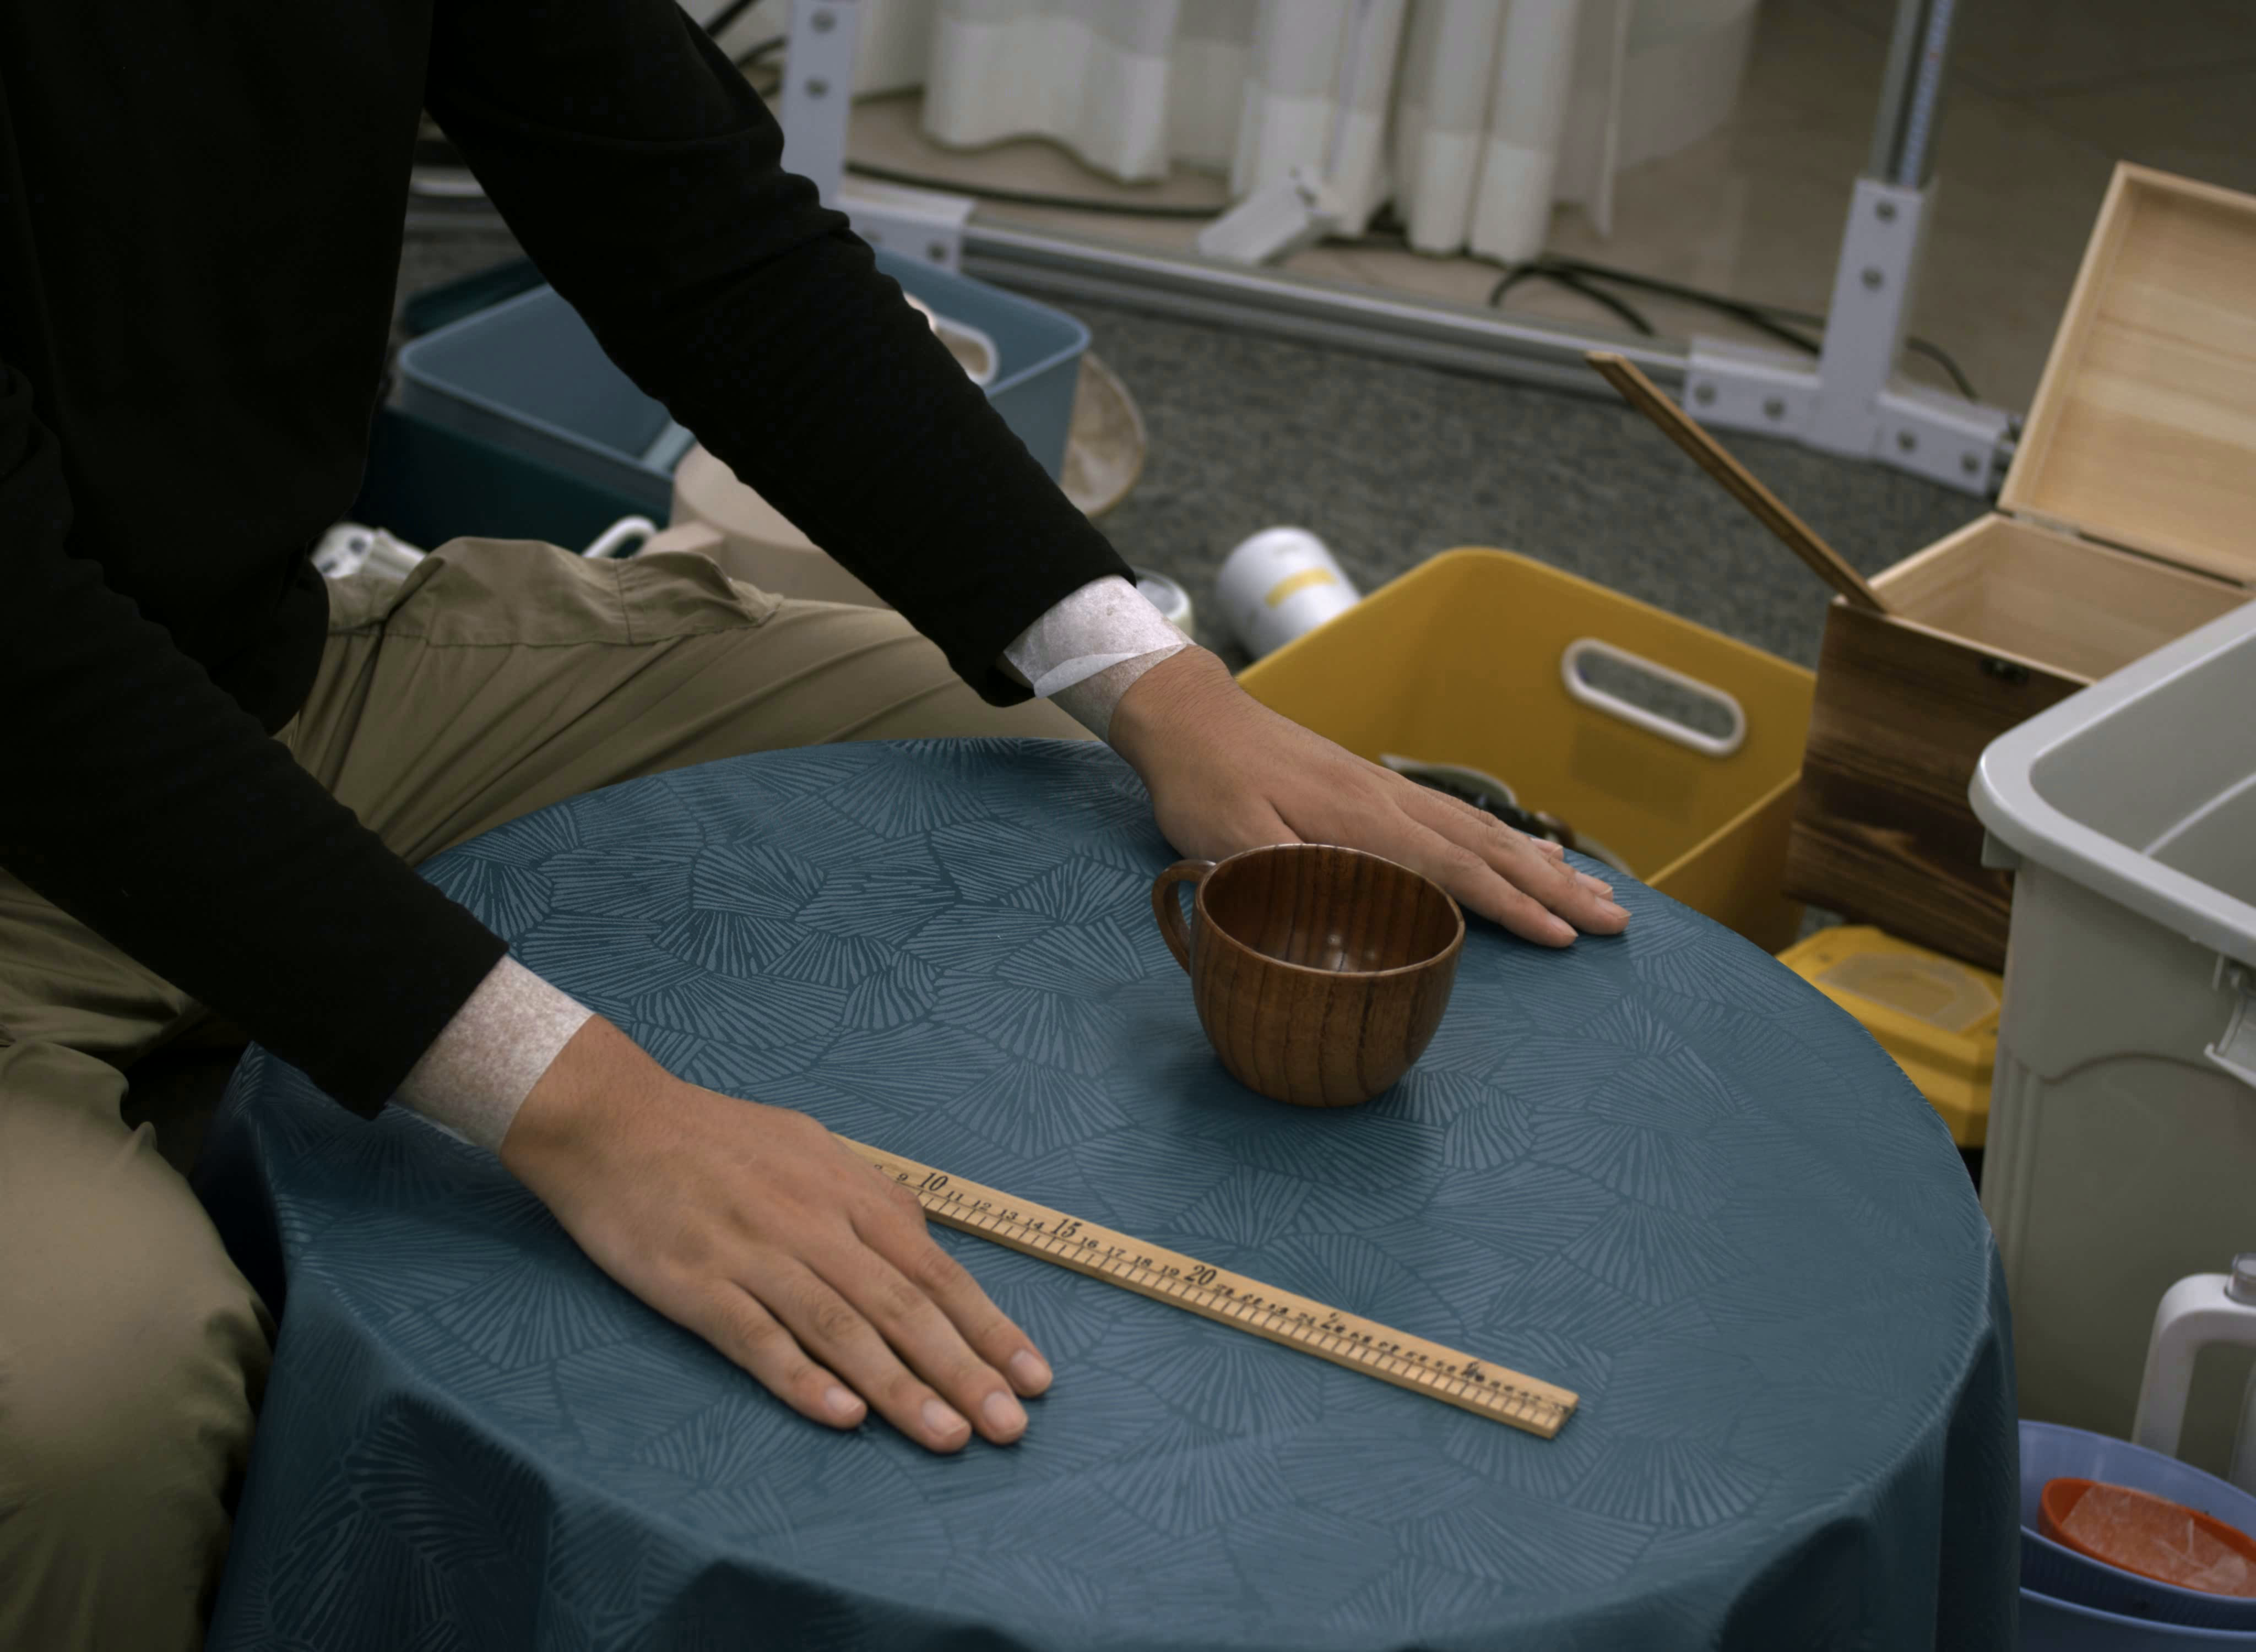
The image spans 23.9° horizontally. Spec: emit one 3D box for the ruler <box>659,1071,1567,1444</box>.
[{"bbox_3d":[-0.009,0.138,1.760,0.333,0.022,0.027,19,25,22],"label":"ruler"}]

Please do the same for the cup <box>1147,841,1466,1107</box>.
[{"bbox_3d":[0.059,0.052,1.884,0.120,0.067,0.096,21,32,28],"label":"cup"}]
